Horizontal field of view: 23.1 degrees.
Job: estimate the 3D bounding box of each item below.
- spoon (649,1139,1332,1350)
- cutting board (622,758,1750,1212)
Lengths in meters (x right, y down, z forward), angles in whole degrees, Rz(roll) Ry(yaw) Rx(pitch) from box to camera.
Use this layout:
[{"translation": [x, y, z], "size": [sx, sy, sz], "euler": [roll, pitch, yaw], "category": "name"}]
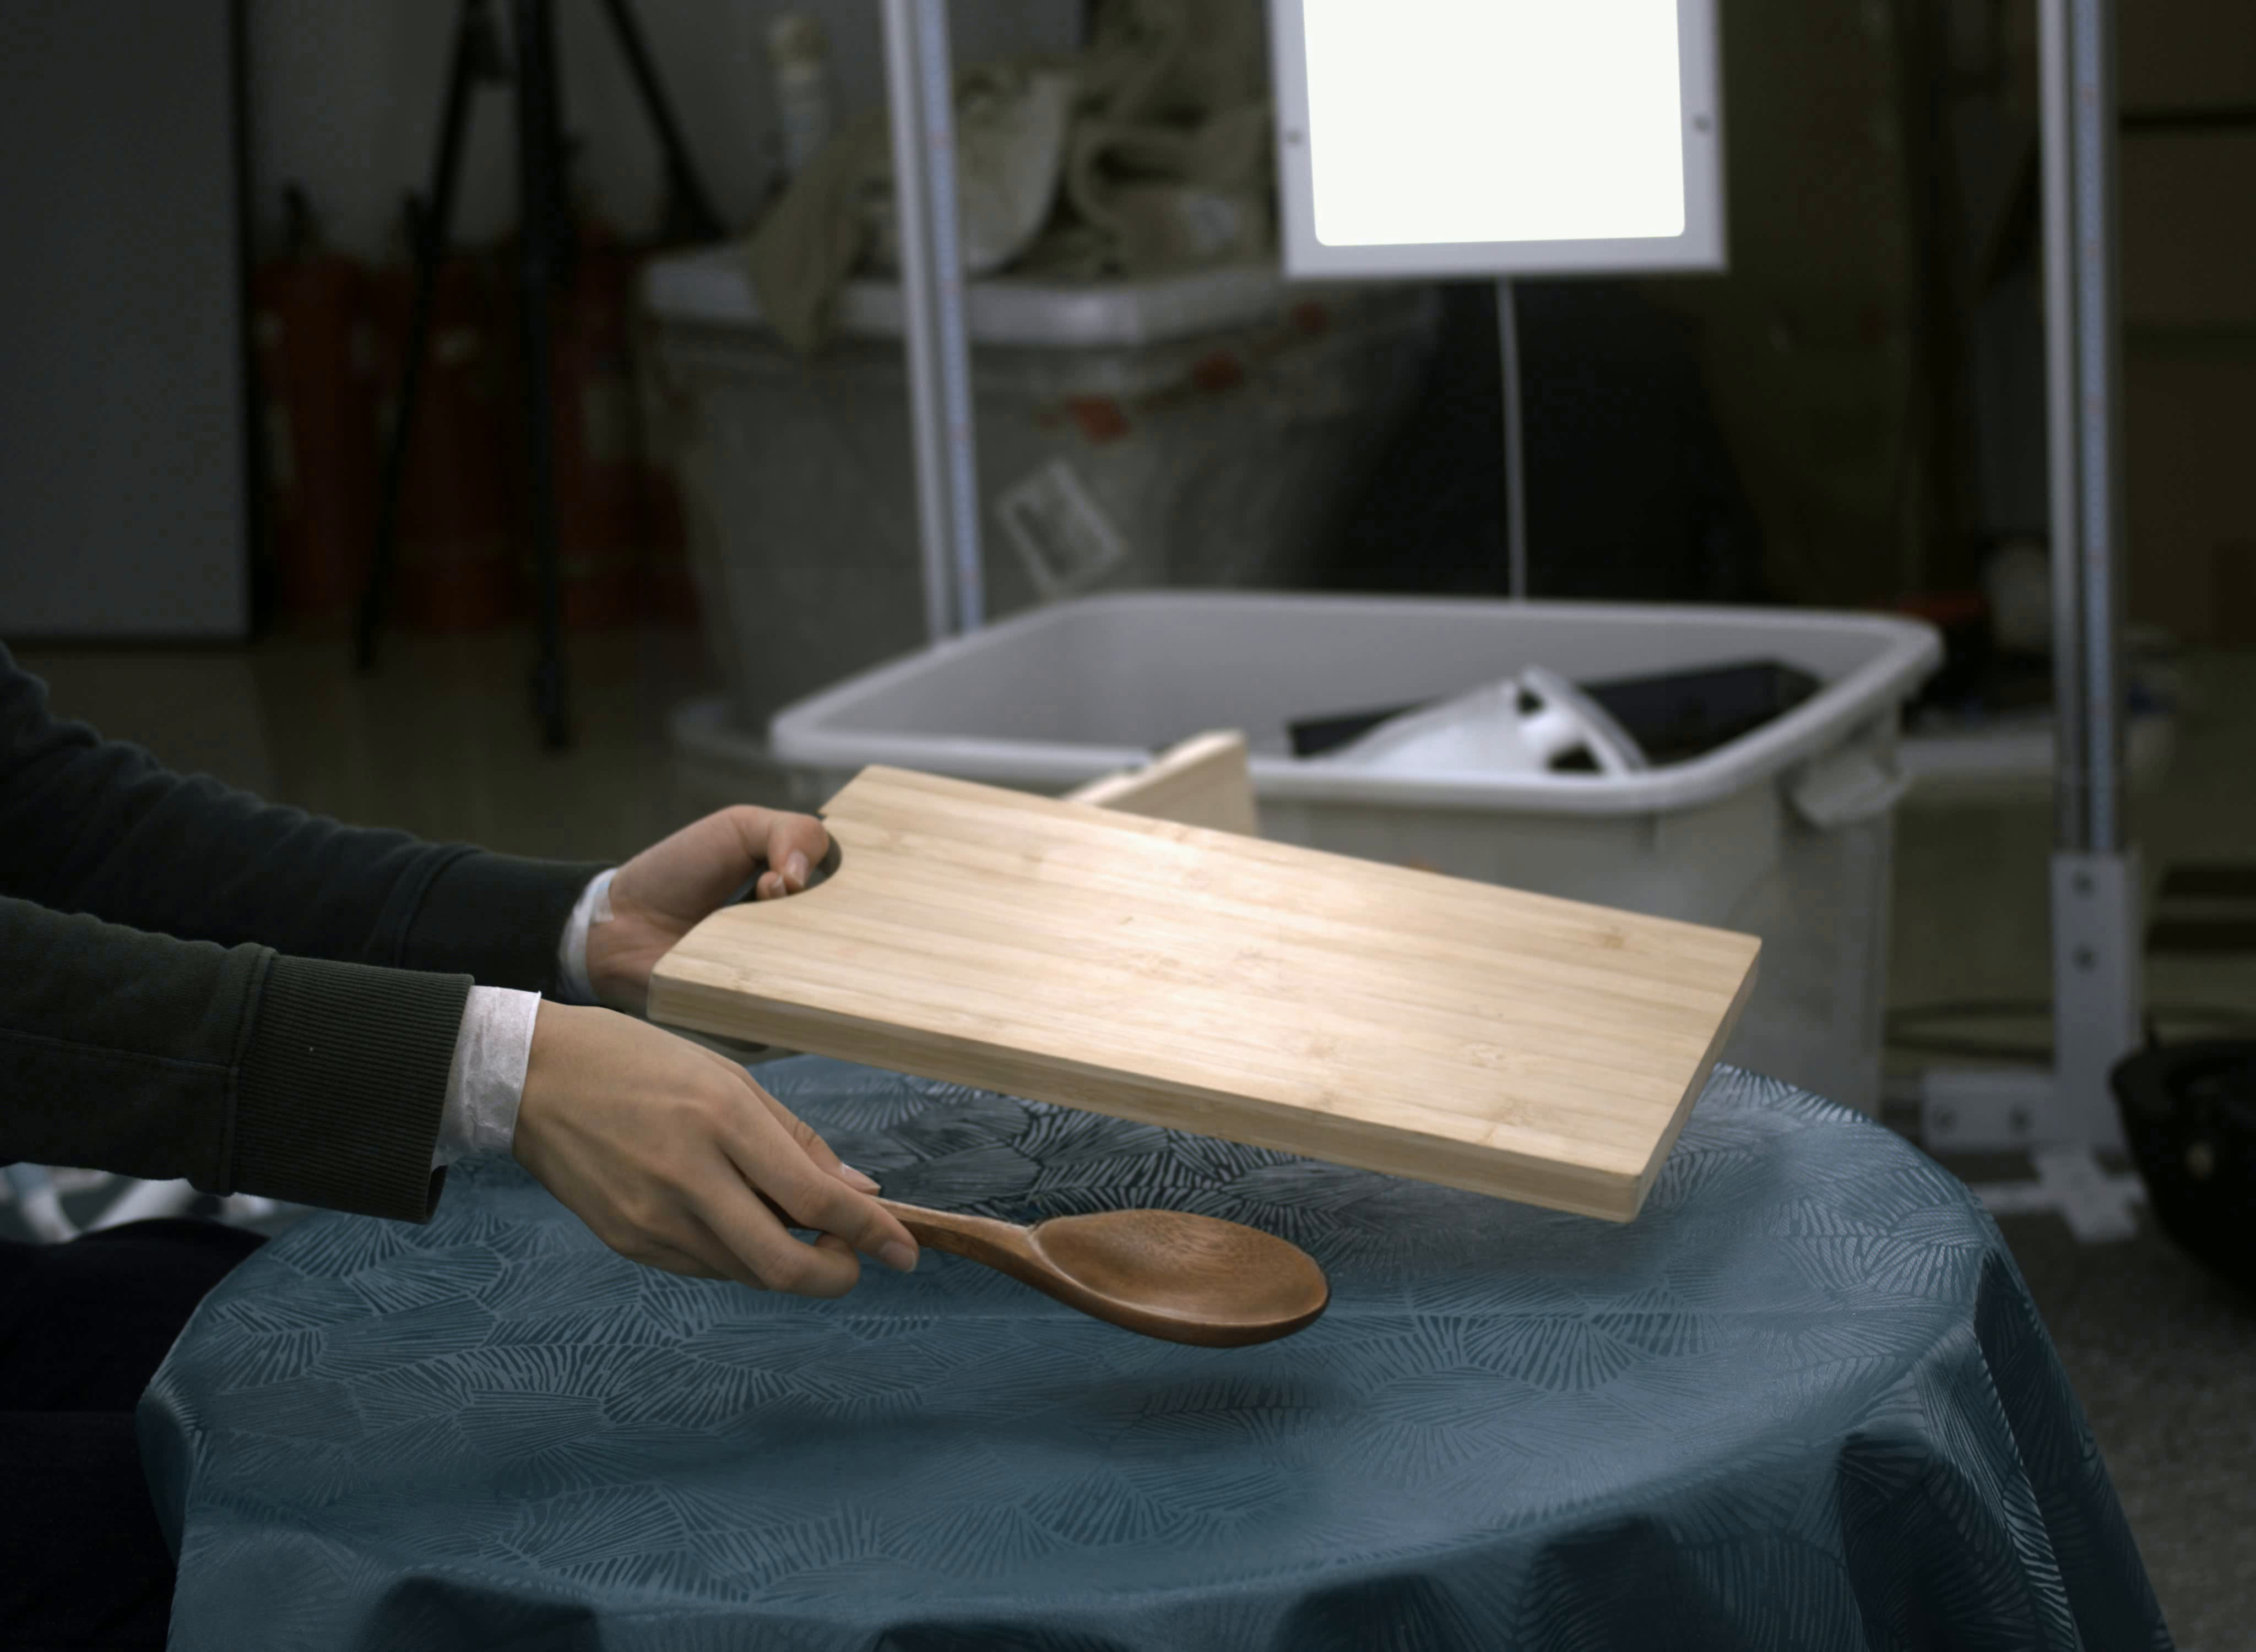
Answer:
[{"translation": [-0.043, 0.126, 1.691], "size": [0.217, 0.017, 0.074], "euler": [12, 26, 10], "category": "spoon"}, {"translation": [0.027, 0.050, 1.904], "size": [0.351, 0.024, 0.247], "euler": [10, 20, 14], "category": "cutting board"}]
